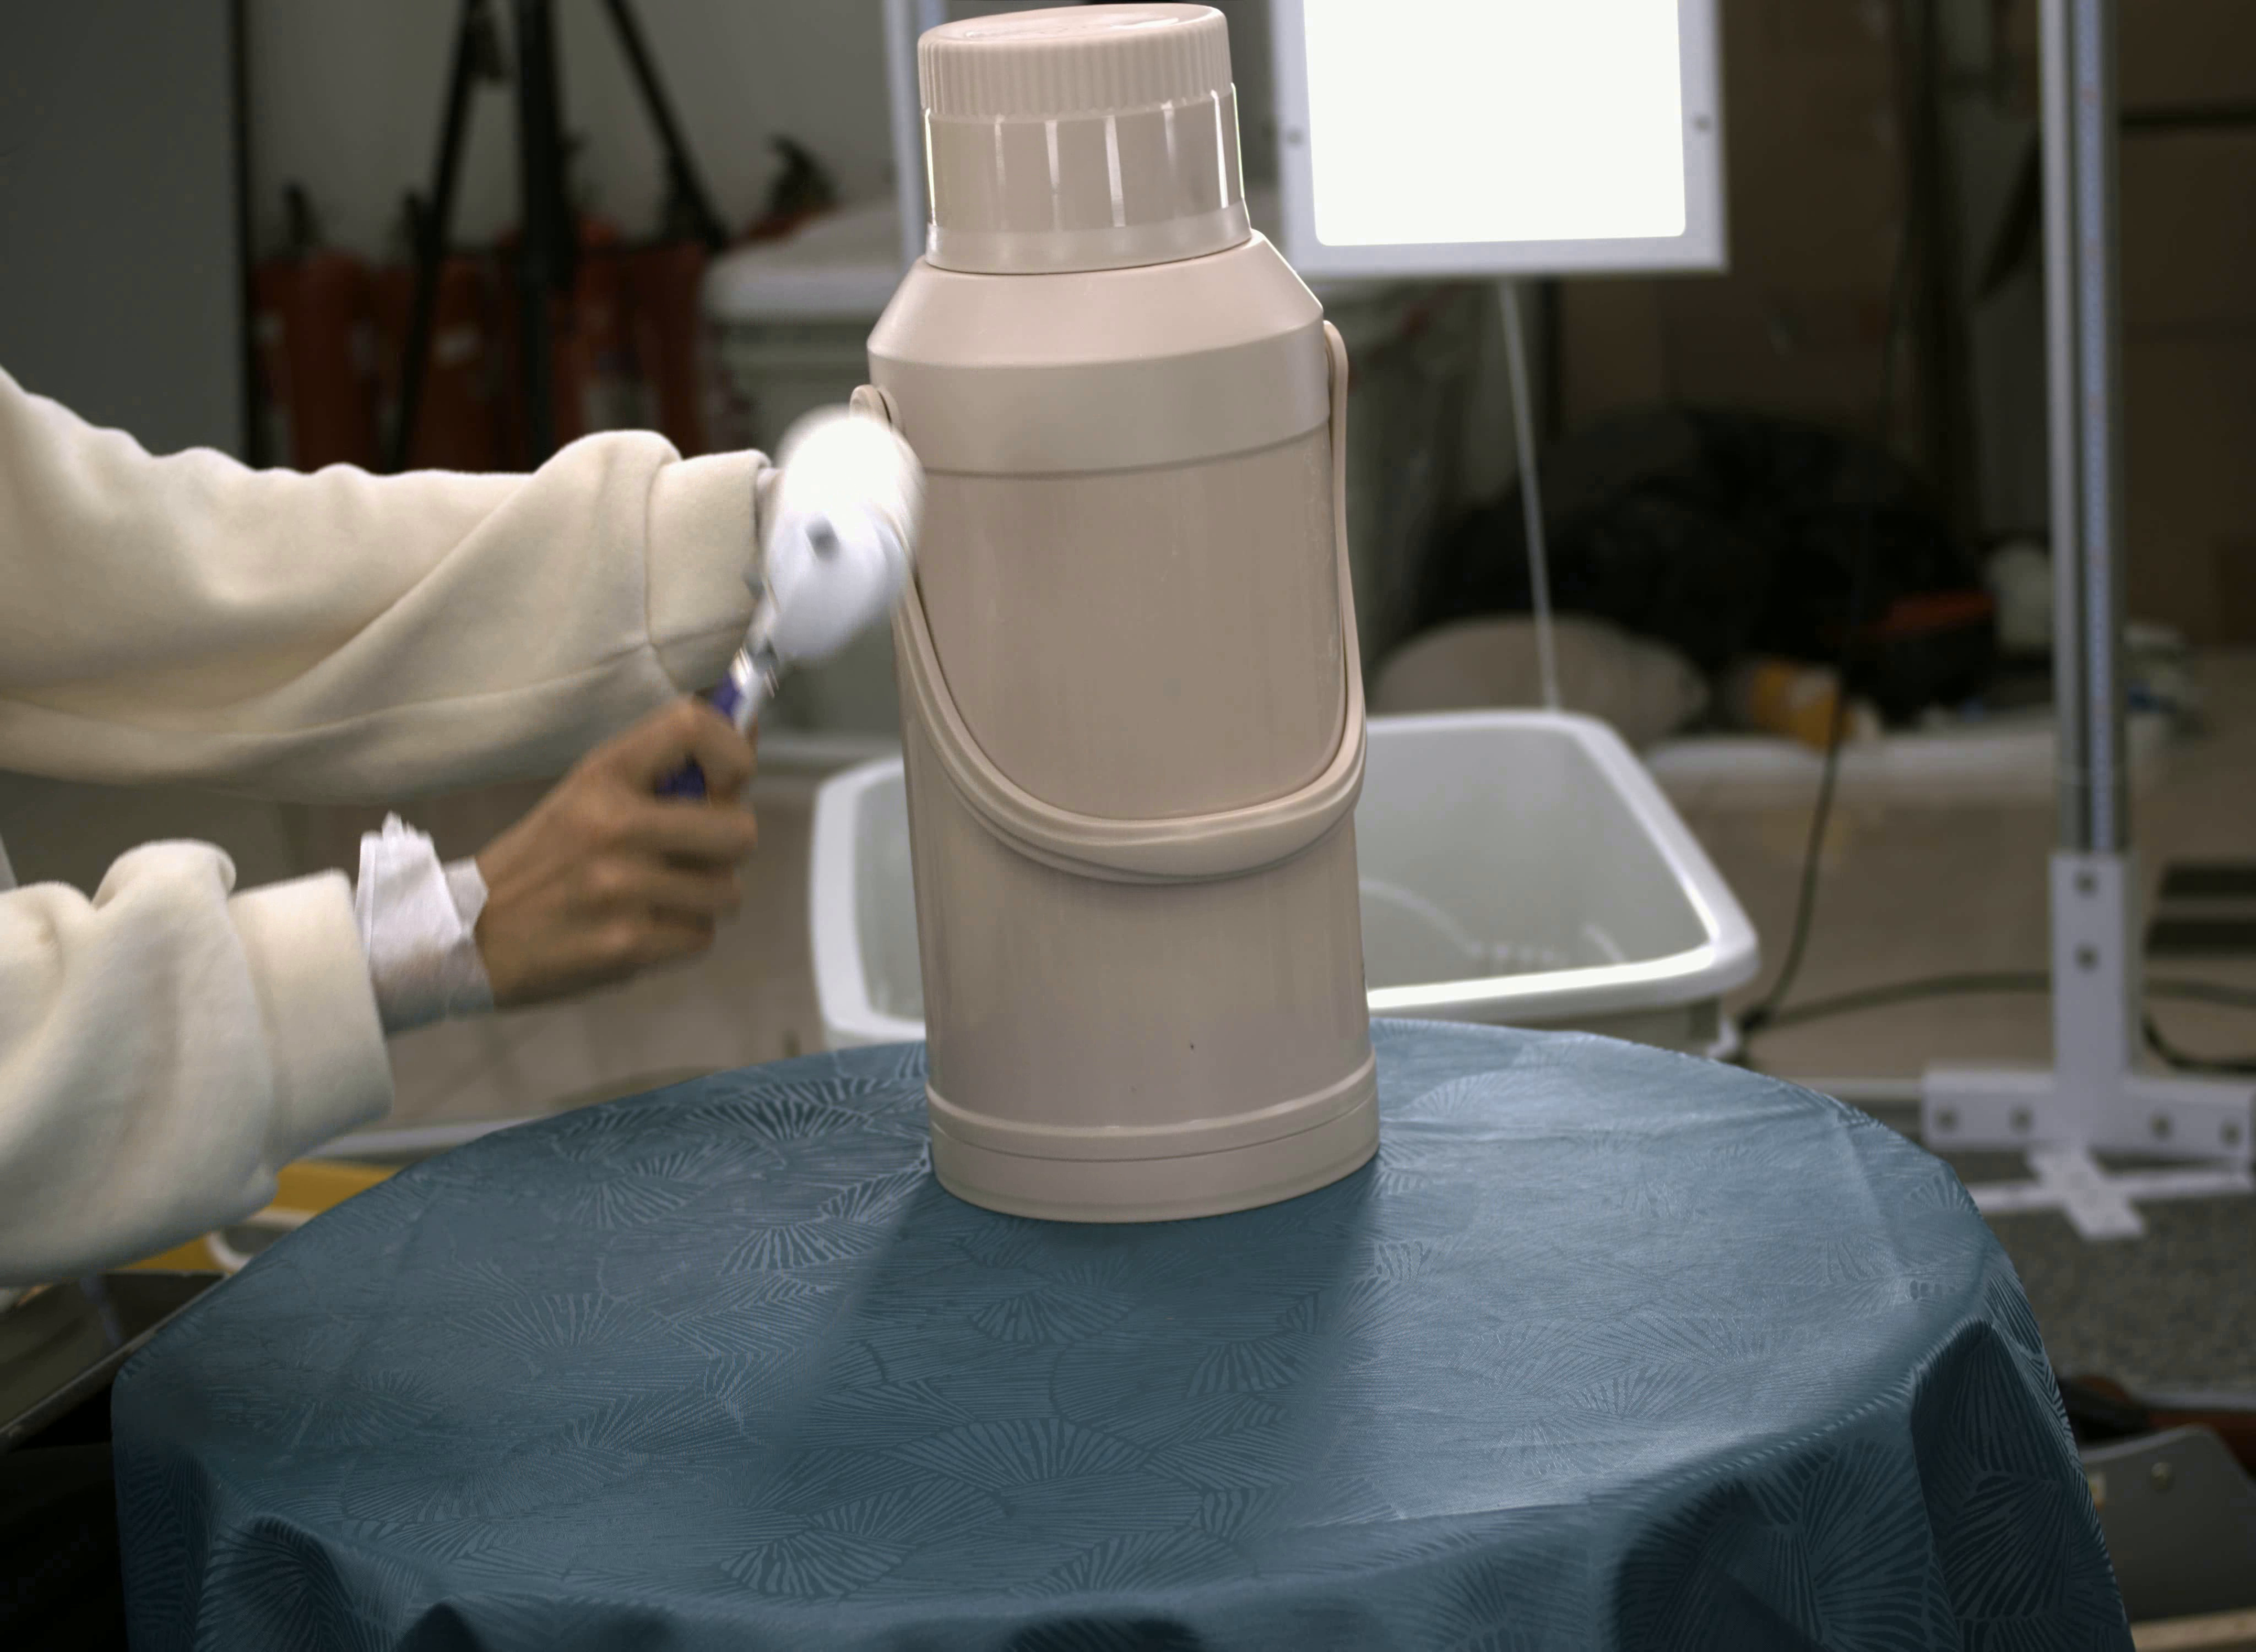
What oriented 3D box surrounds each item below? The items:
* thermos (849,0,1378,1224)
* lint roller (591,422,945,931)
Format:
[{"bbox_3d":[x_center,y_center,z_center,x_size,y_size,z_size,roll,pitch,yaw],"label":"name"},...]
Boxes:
[{"bbox_3d":[-0.008,-0.078,1.903,0.172,0.408,0.210,-10,15,-20],"label":"thermos"},{"bbox_3d":[-0.124,-0.046,1.740,0.183,0.050,0.132,-47,12,17],"label":"lint roller"}]
